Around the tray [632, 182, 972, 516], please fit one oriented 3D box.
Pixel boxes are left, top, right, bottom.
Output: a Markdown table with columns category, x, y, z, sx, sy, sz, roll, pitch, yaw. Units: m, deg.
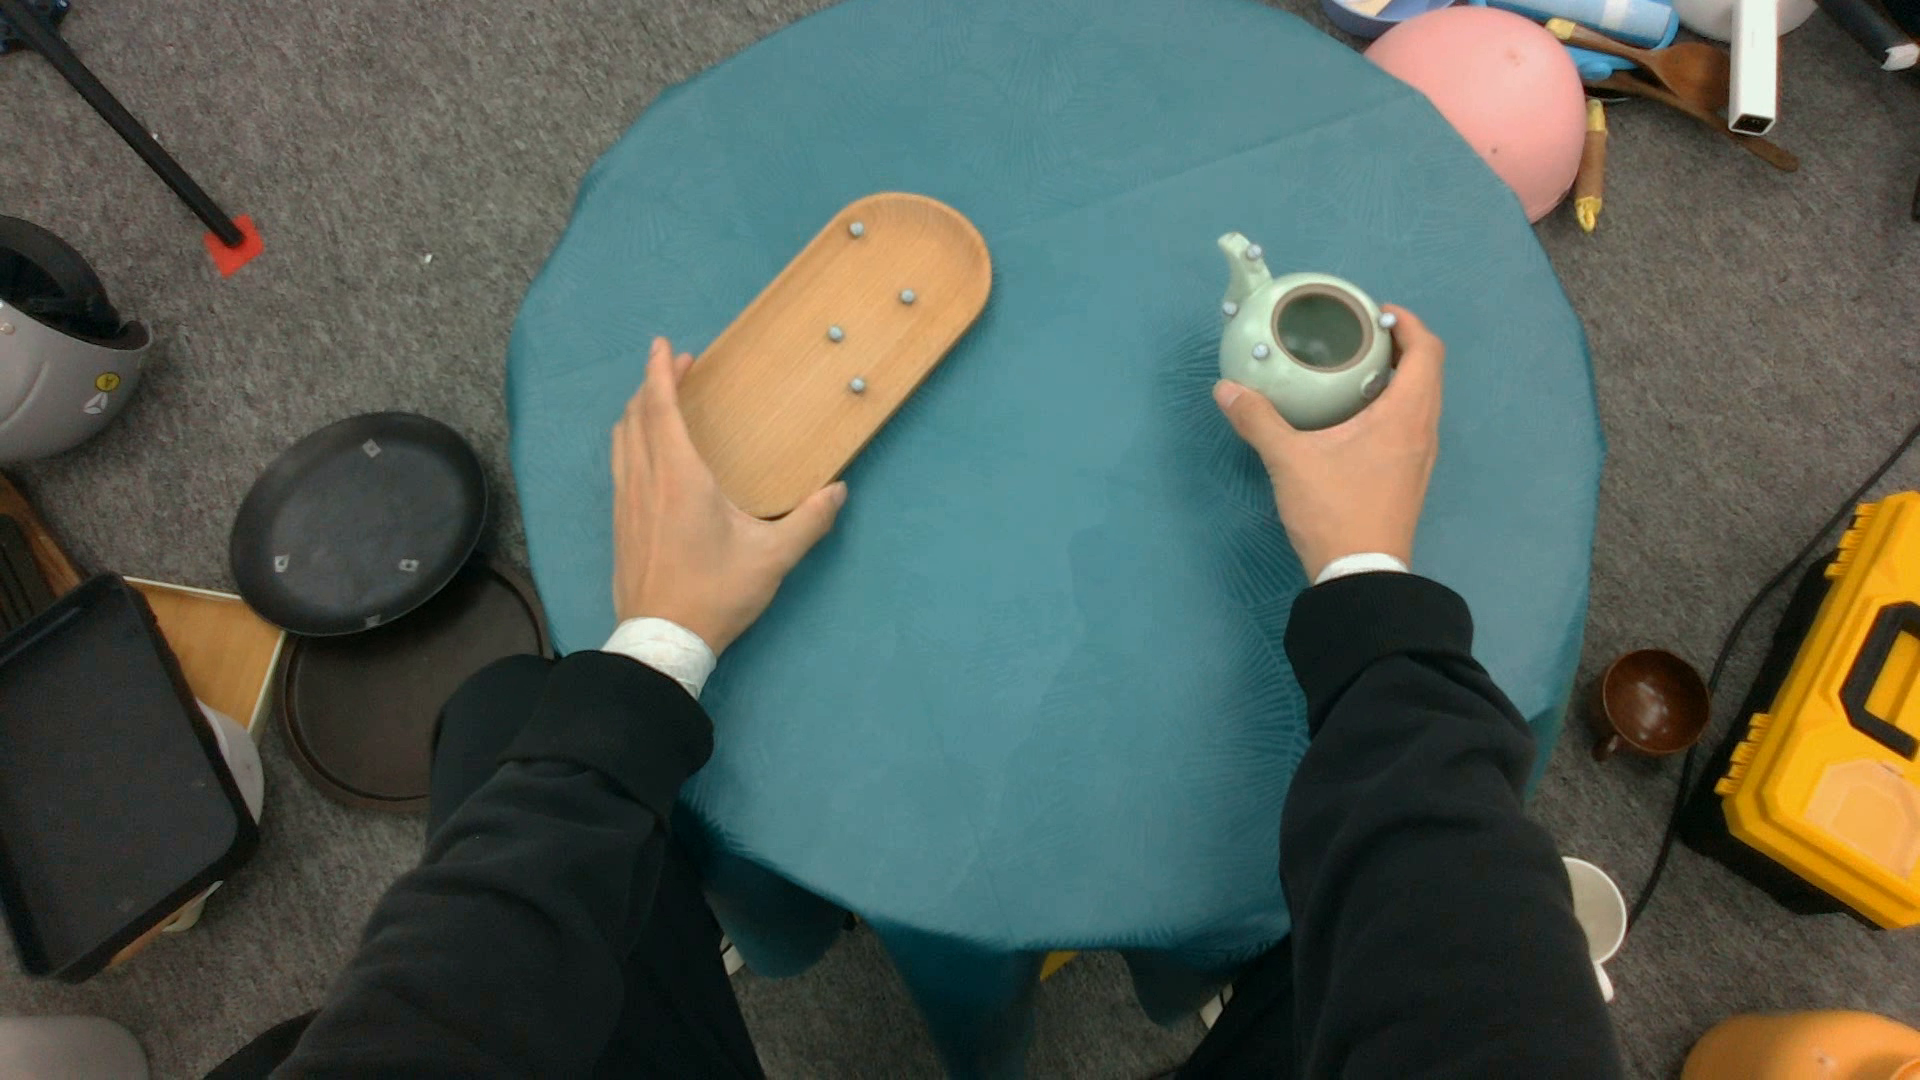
| category | x | y | z | sx | sy | sz | roll | pitch | yaw |
| --- | --- | --- | --- | --- | --- | --- | --- | --- | --- |
| tray | -0.083 | -0.108 | 0.753 | 0.102 | 0.020 | 0.232 | 36 | 71 | 9 |

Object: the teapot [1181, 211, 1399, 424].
| category | x | y | z | sx | sy | sz | roll | pitch | yaw |
| --- | --- | --- | --- | --- | --- | --- | --- | --- | --- |
| teapot | 0.164 | -0.108 | 0.721 | 0.088 | 0.074 | 0.144 | -39 | 74 | -18 |
